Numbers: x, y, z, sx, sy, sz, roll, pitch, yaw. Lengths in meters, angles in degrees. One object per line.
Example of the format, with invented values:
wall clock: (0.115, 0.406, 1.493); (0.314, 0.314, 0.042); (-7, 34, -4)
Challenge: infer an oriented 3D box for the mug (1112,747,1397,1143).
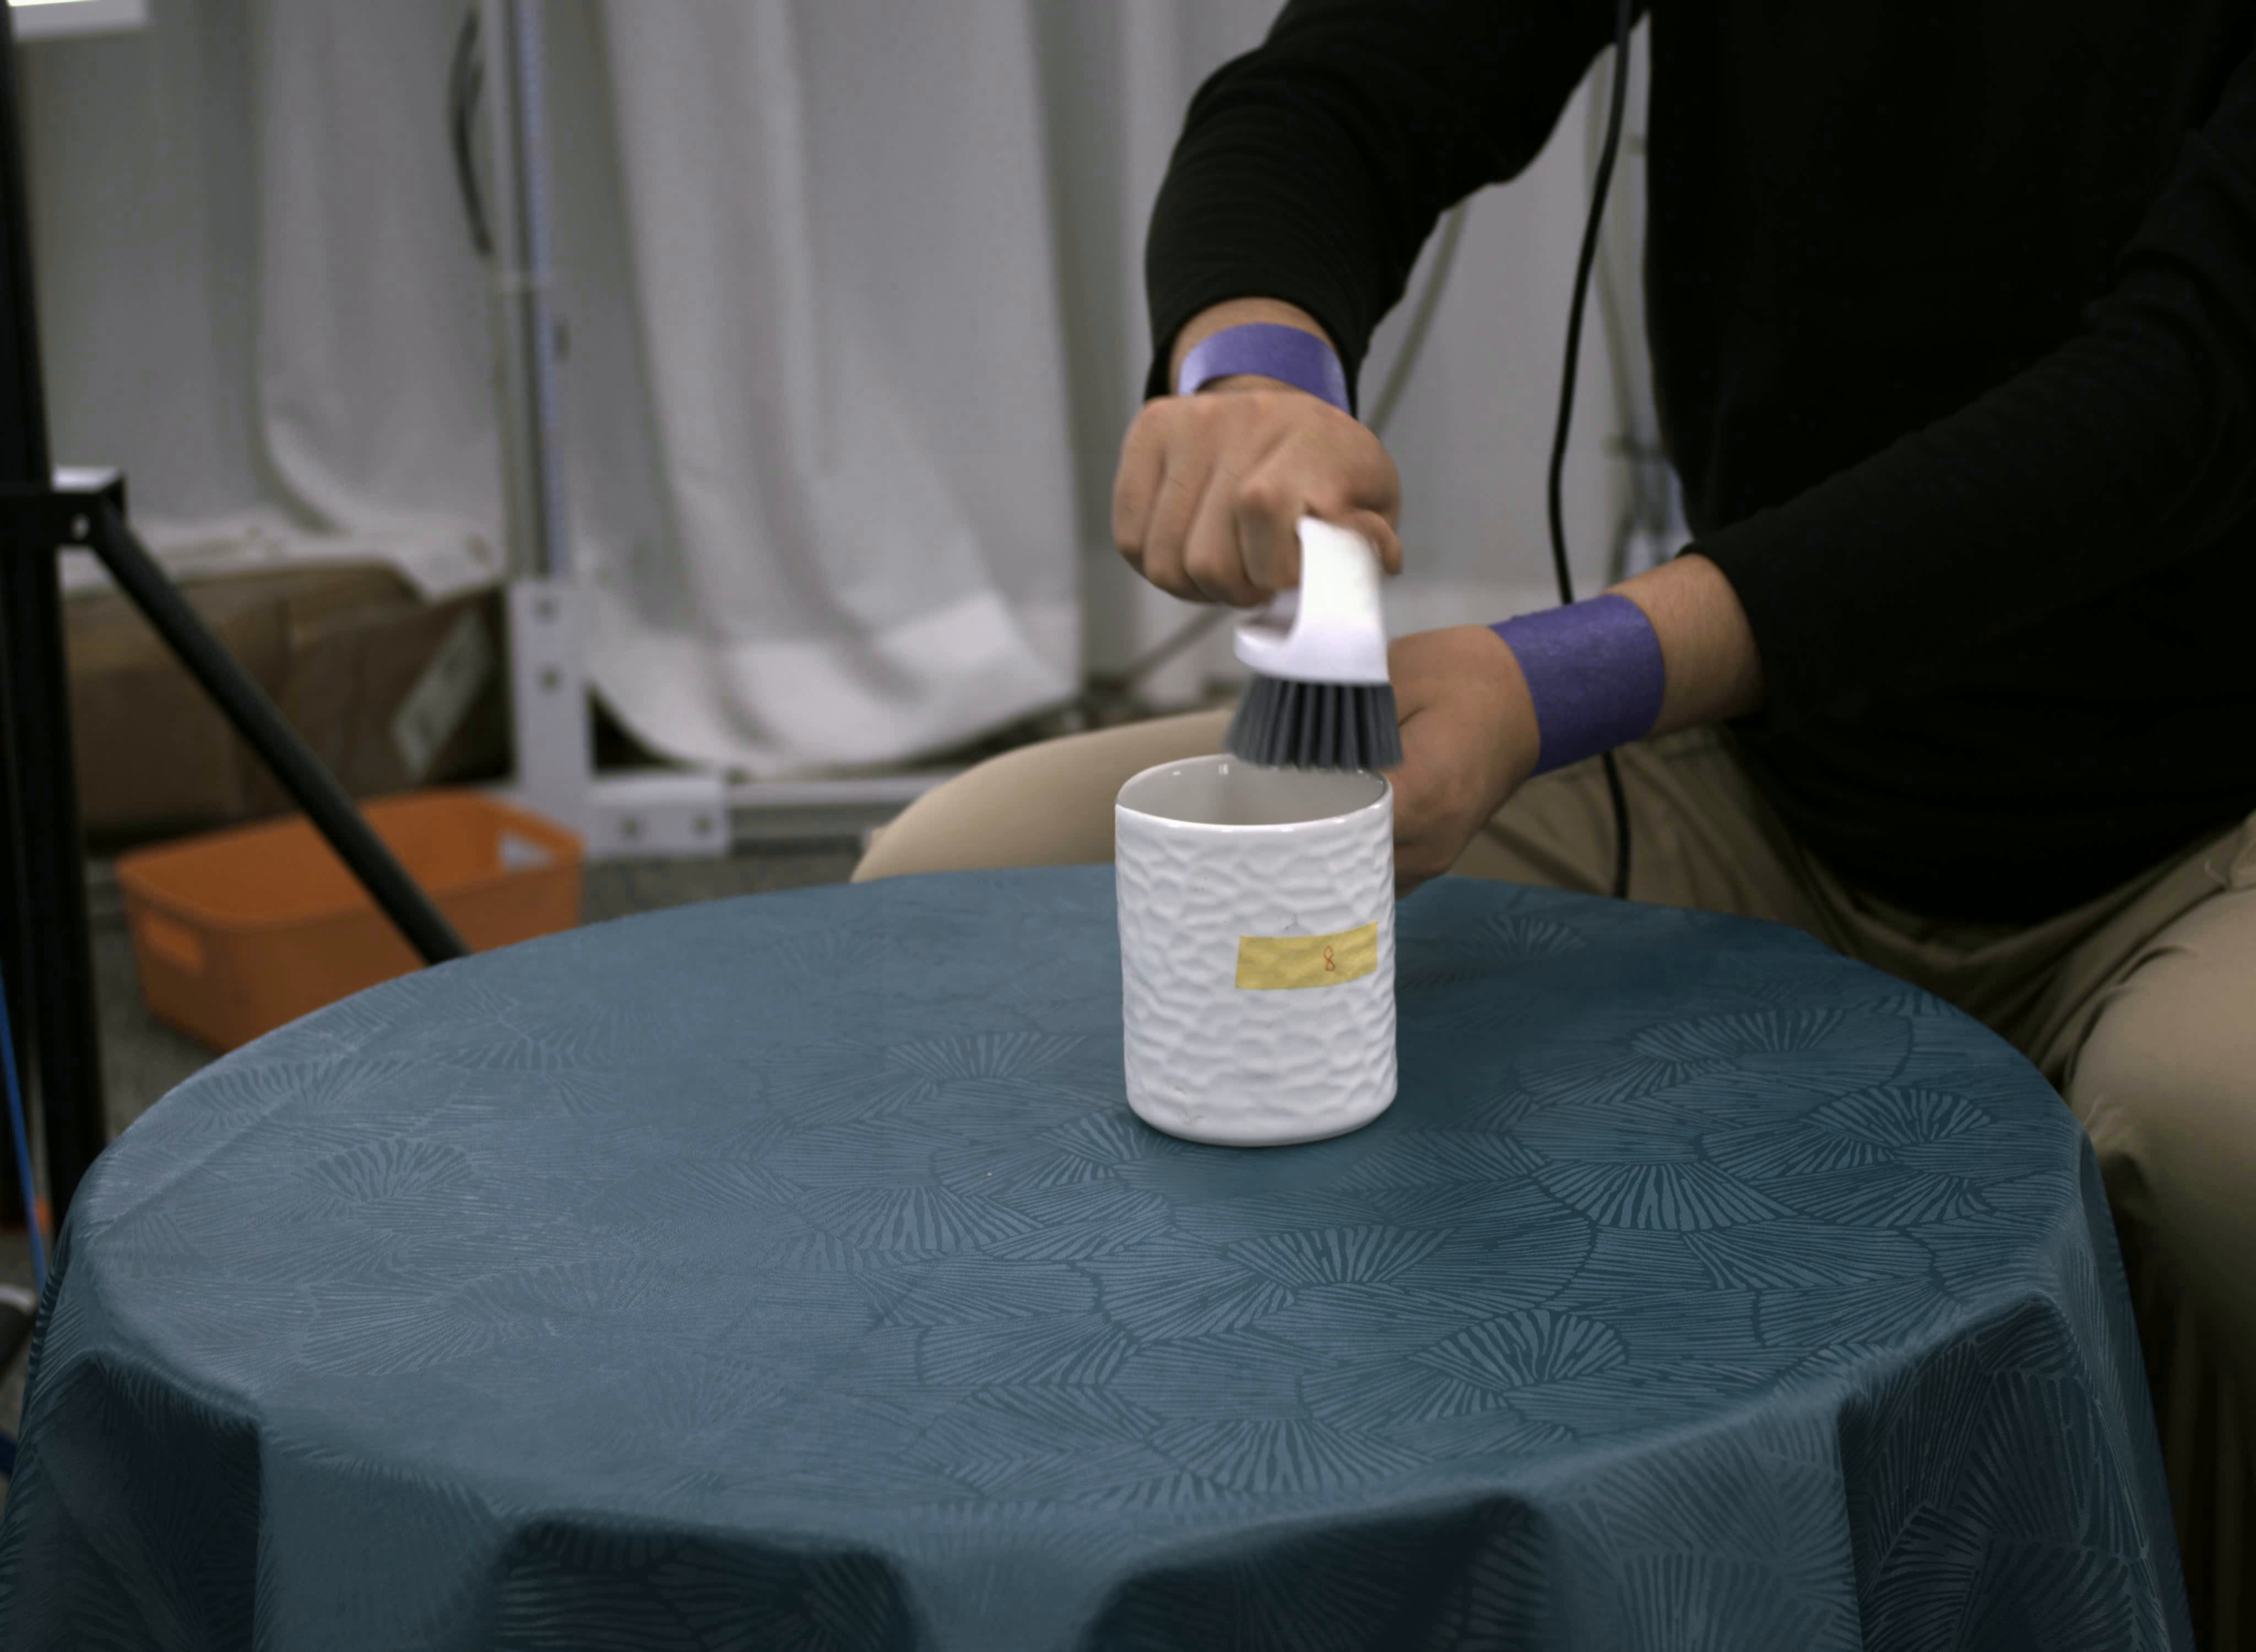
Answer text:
mug: (0.039, 0.032, 1.631); (0.084, 0.102, 0.119); (-3, 15, -1)

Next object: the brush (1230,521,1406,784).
brush: (0.059, -0.055, 1.604); (0.050, 0.073, 0.099); (4, 8, -2)
